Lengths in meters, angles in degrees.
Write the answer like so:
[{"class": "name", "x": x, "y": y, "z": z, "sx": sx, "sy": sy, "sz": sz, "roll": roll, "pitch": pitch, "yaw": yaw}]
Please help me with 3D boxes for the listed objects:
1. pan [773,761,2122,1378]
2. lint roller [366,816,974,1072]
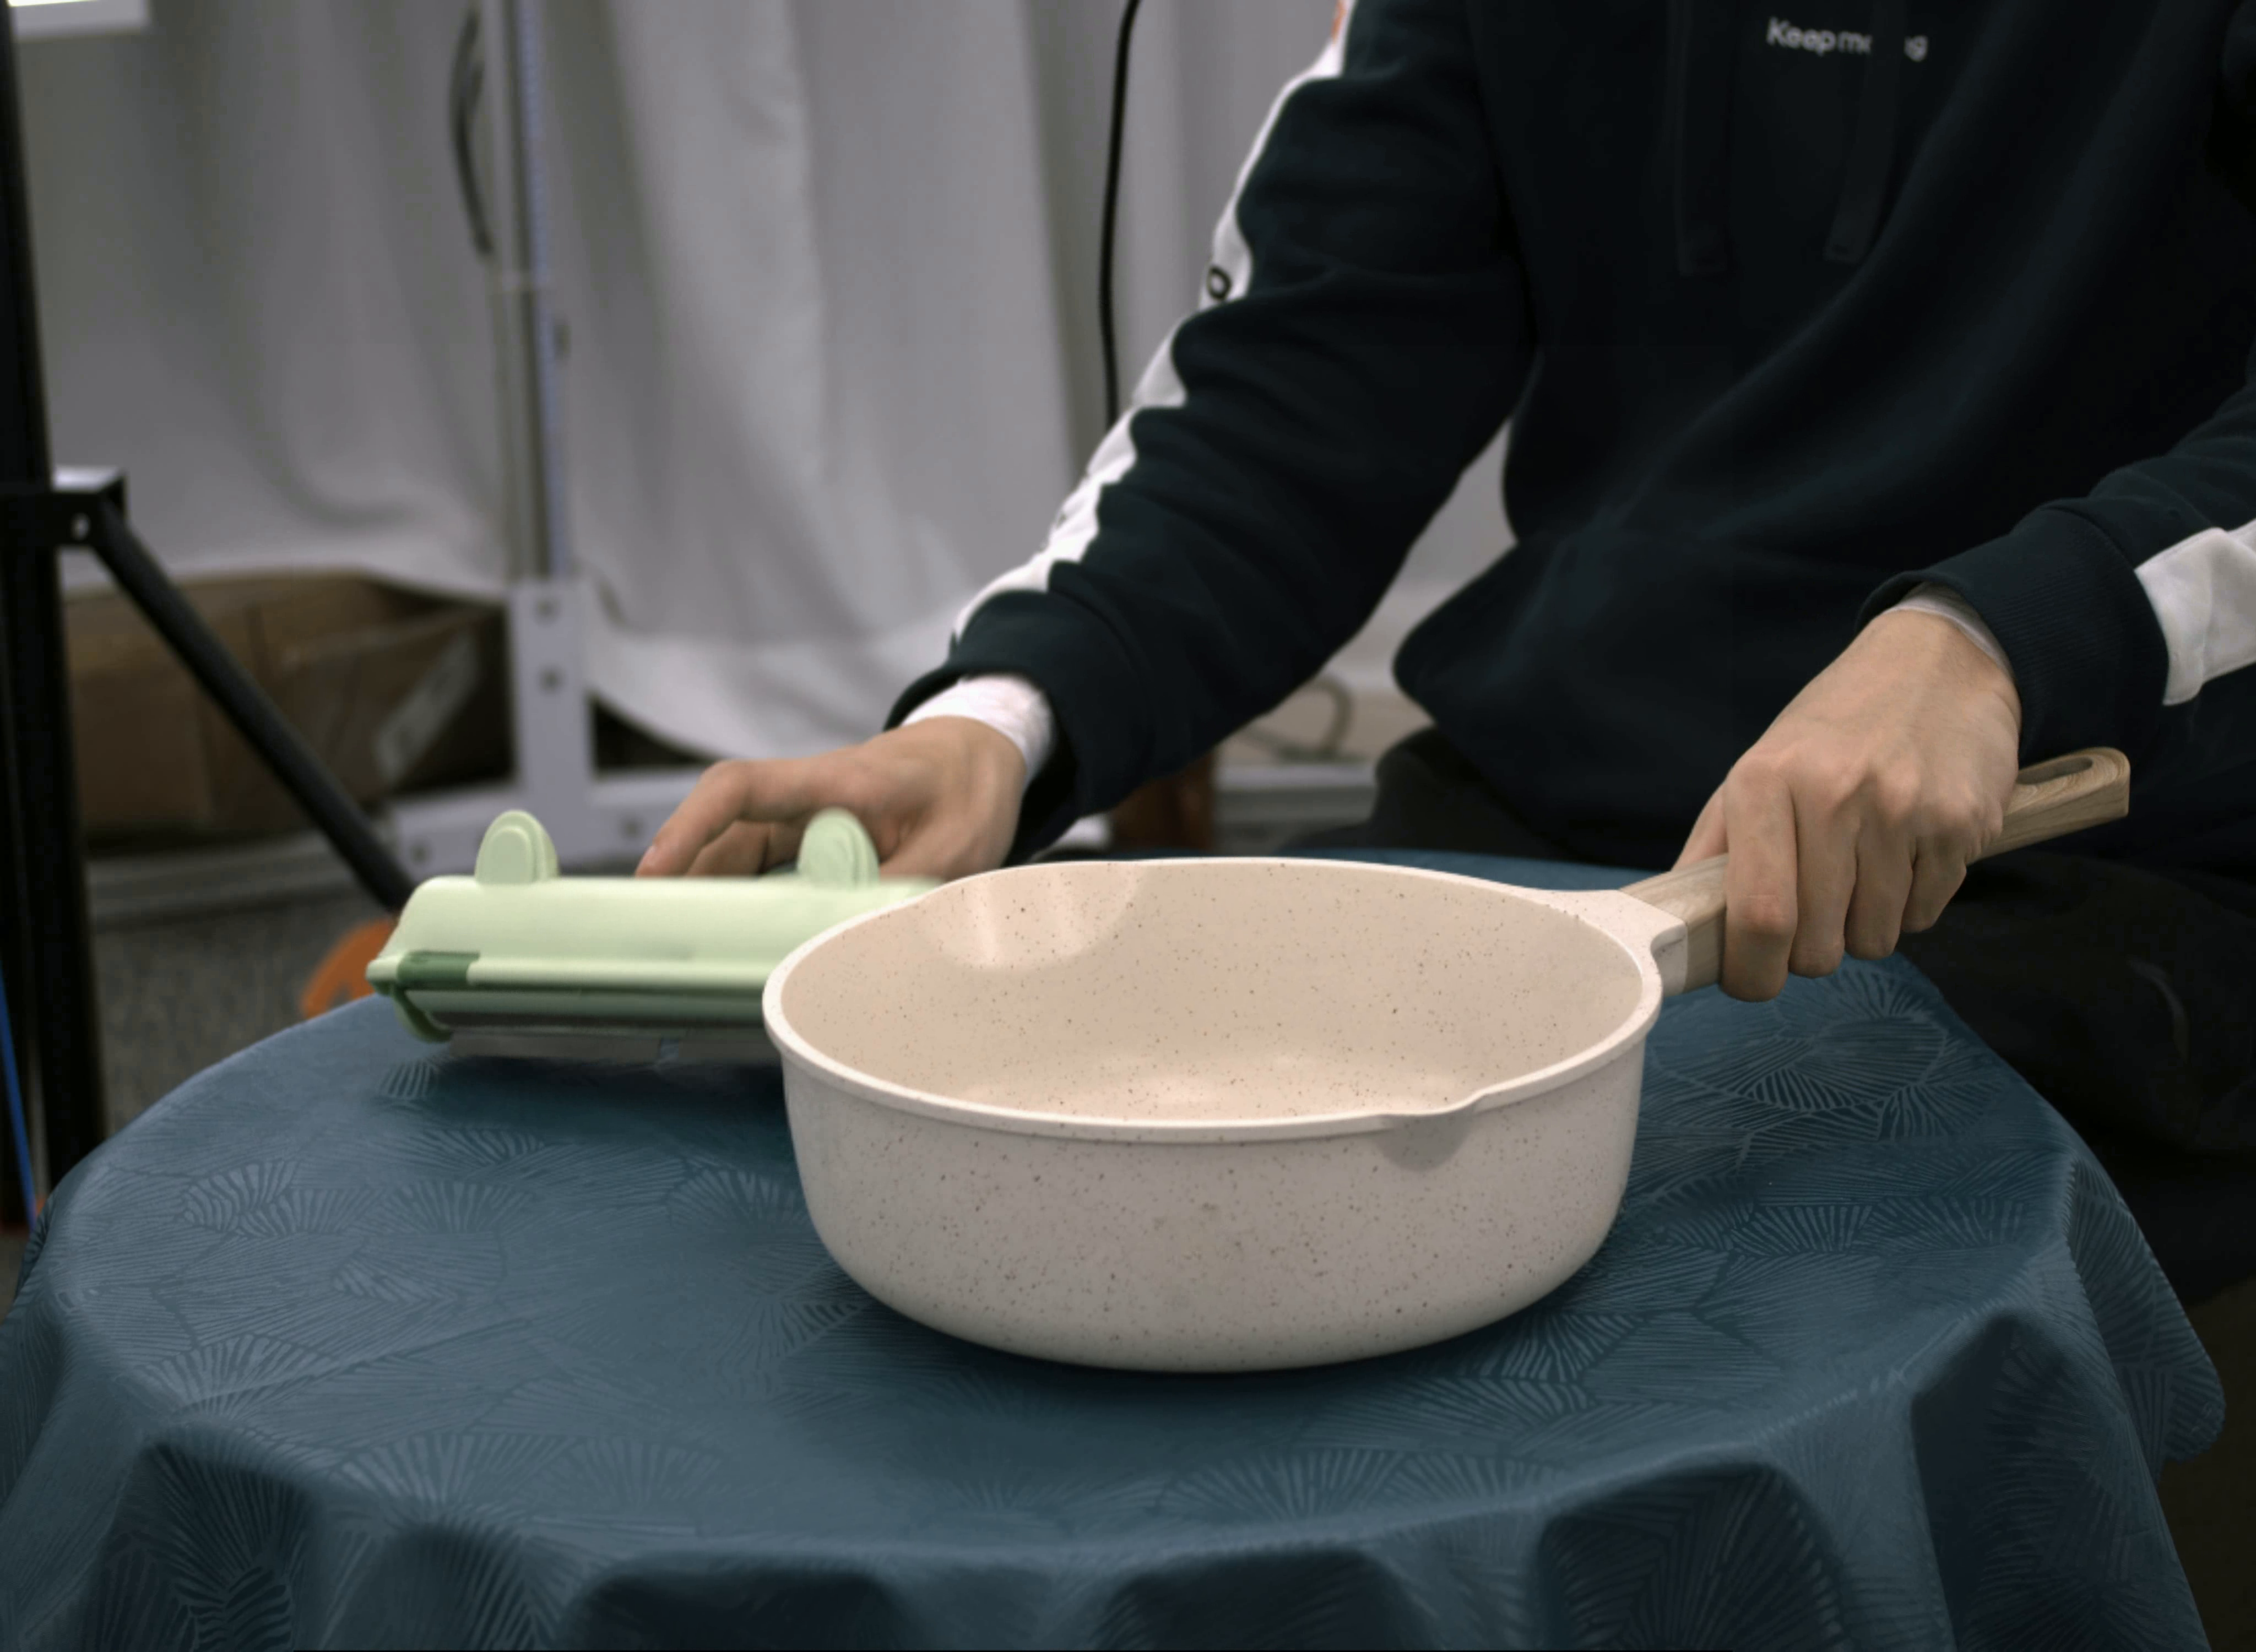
[{"class": "pan", "x": 0.109, "y": 0.063, "z": 1.517, "sx": 0.426, "sy": 0.102, "sz": 0.269, "roll": -9, "pitch": 16, "yaw": -24}, {"class": "lint roller", "x": -0.119, "y": 0.019, "z": 1.713, "sx": 0.202, "sy": 0.082, "sz": 0.181, "roll": 2, "pitch": 24, "yaw": 27}]
